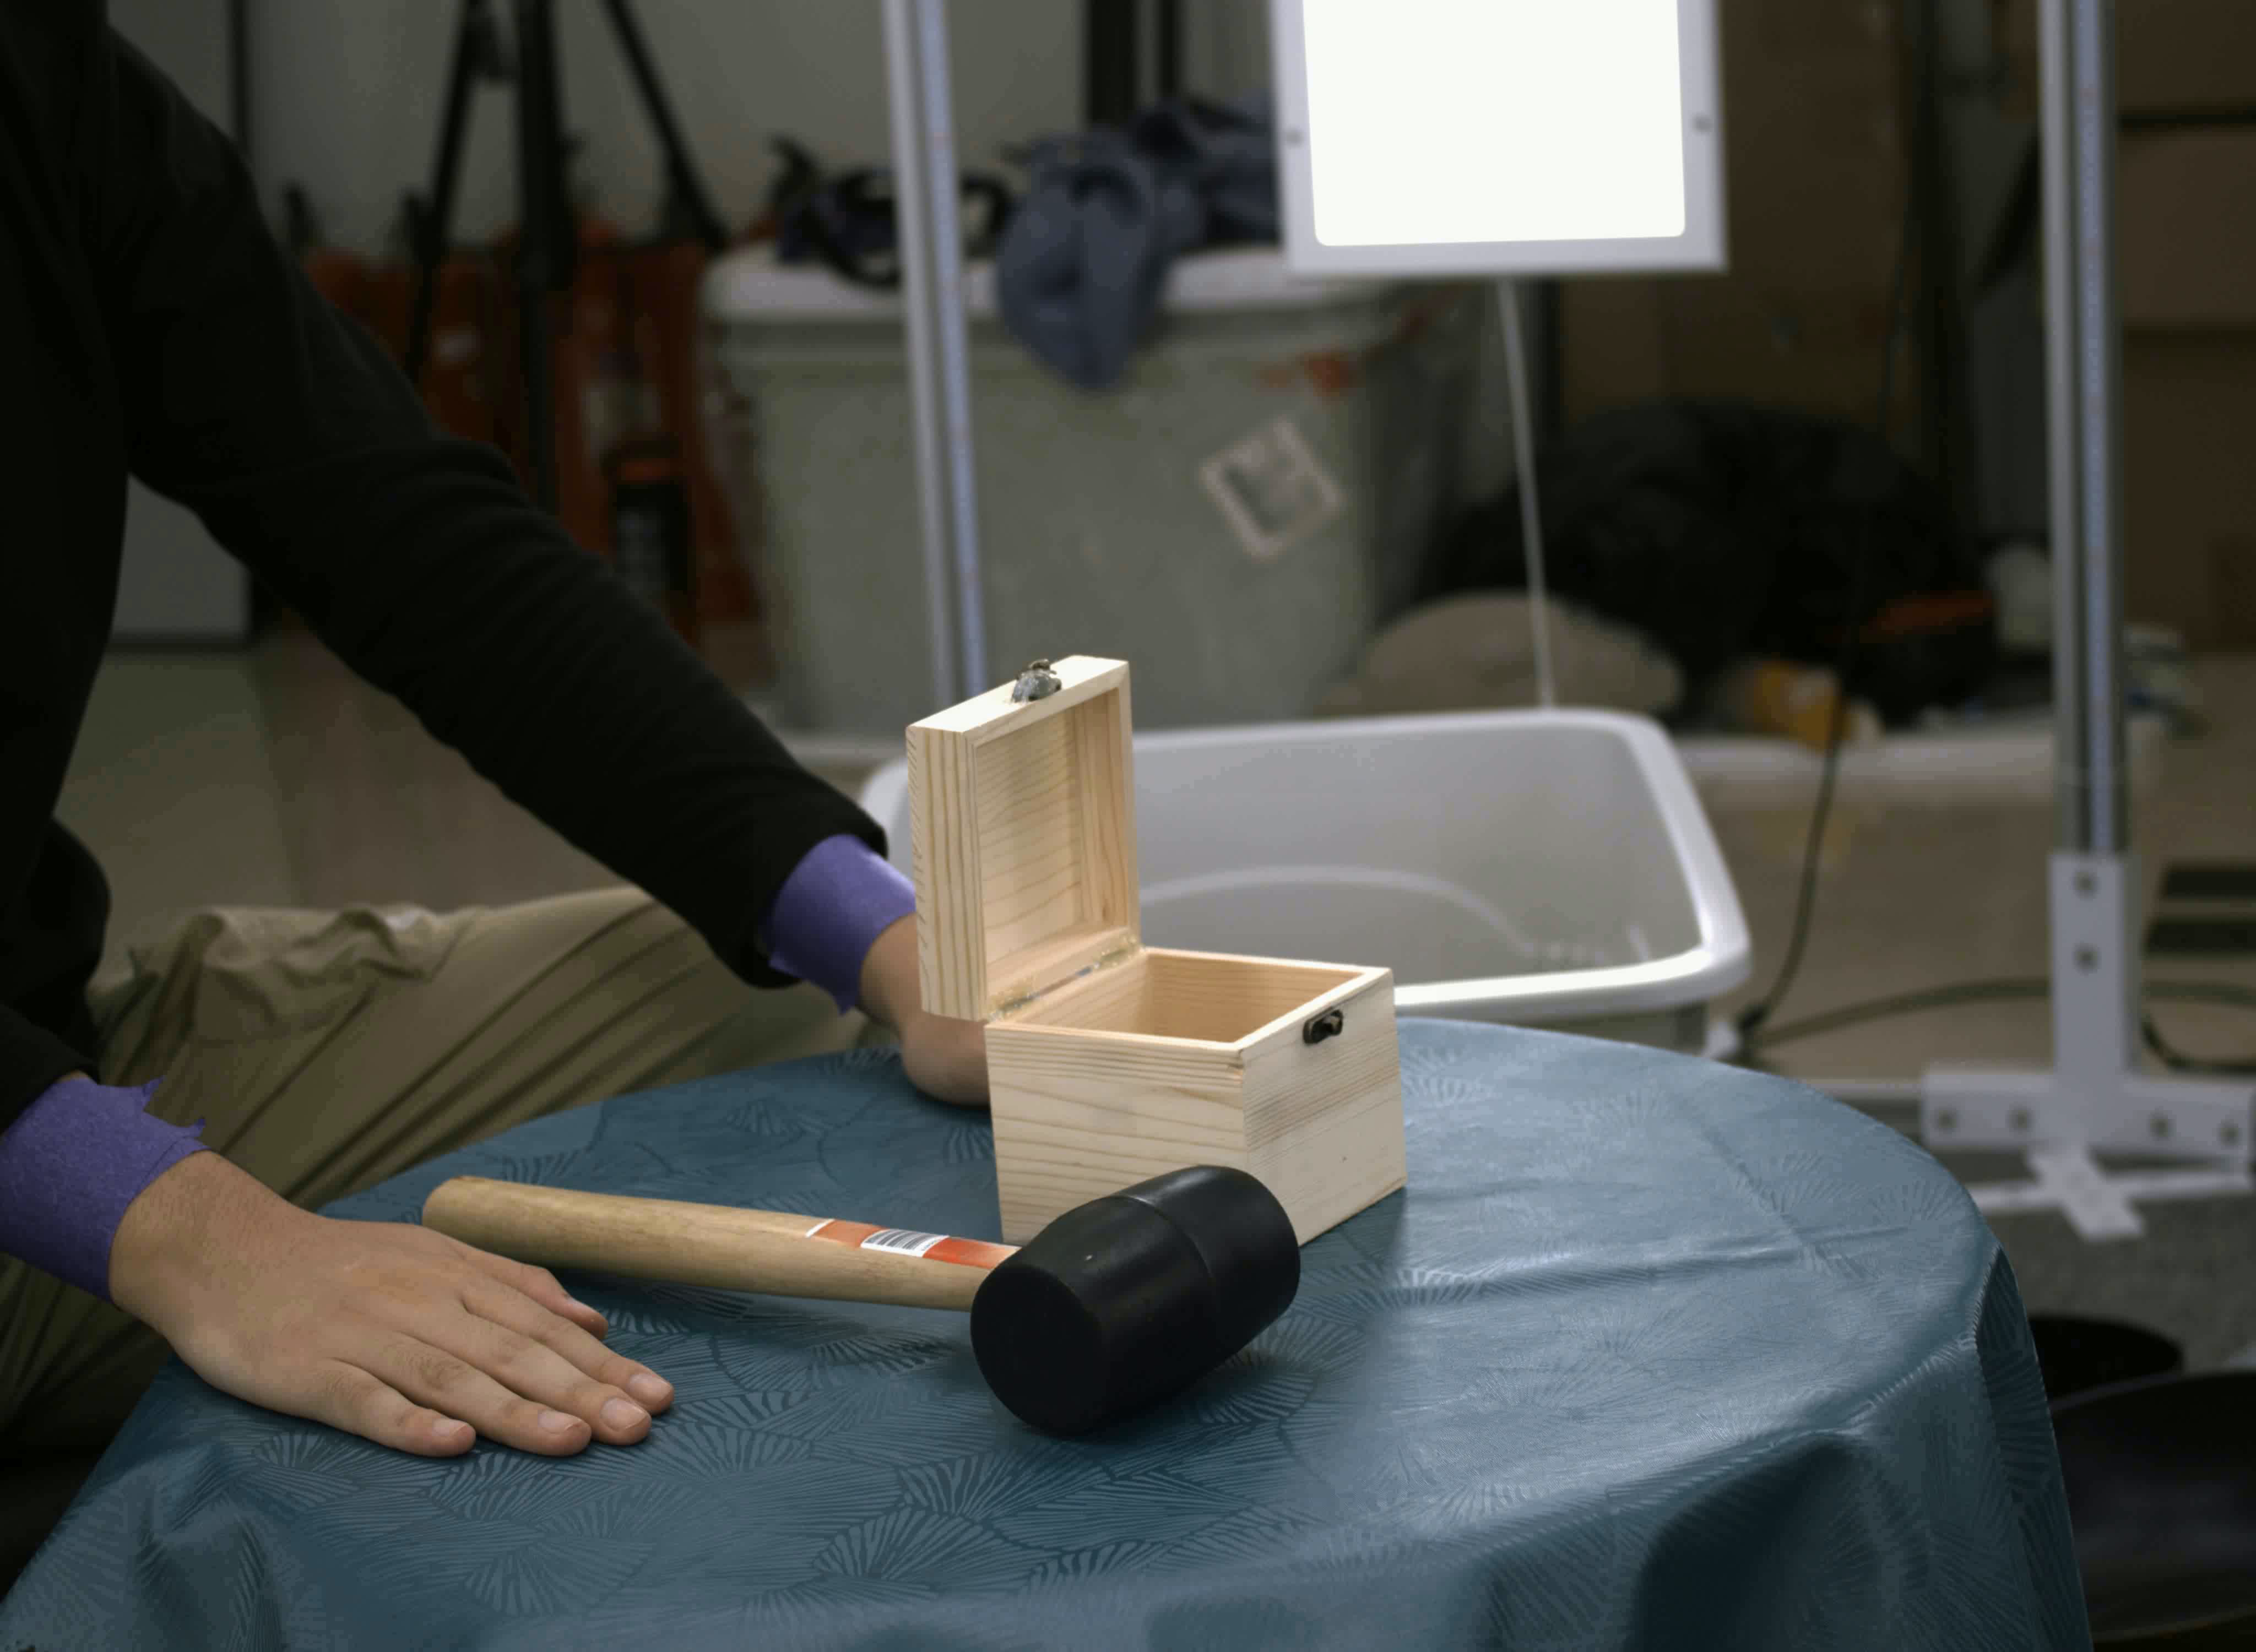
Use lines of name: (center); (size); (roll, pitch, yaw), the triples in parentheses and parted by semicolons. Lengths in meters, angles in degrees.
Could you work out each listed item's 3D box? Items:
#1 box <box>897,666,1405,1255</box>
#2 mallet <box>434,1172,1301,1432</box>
box: (0.010, 0.044, 1.852); (0.136, 0.185, 0.100); (2, 14, 35)
mallet: (-0.102, 0.133, 1.784); (0.346, 0.064, 0.099); (7, 17, 42)
